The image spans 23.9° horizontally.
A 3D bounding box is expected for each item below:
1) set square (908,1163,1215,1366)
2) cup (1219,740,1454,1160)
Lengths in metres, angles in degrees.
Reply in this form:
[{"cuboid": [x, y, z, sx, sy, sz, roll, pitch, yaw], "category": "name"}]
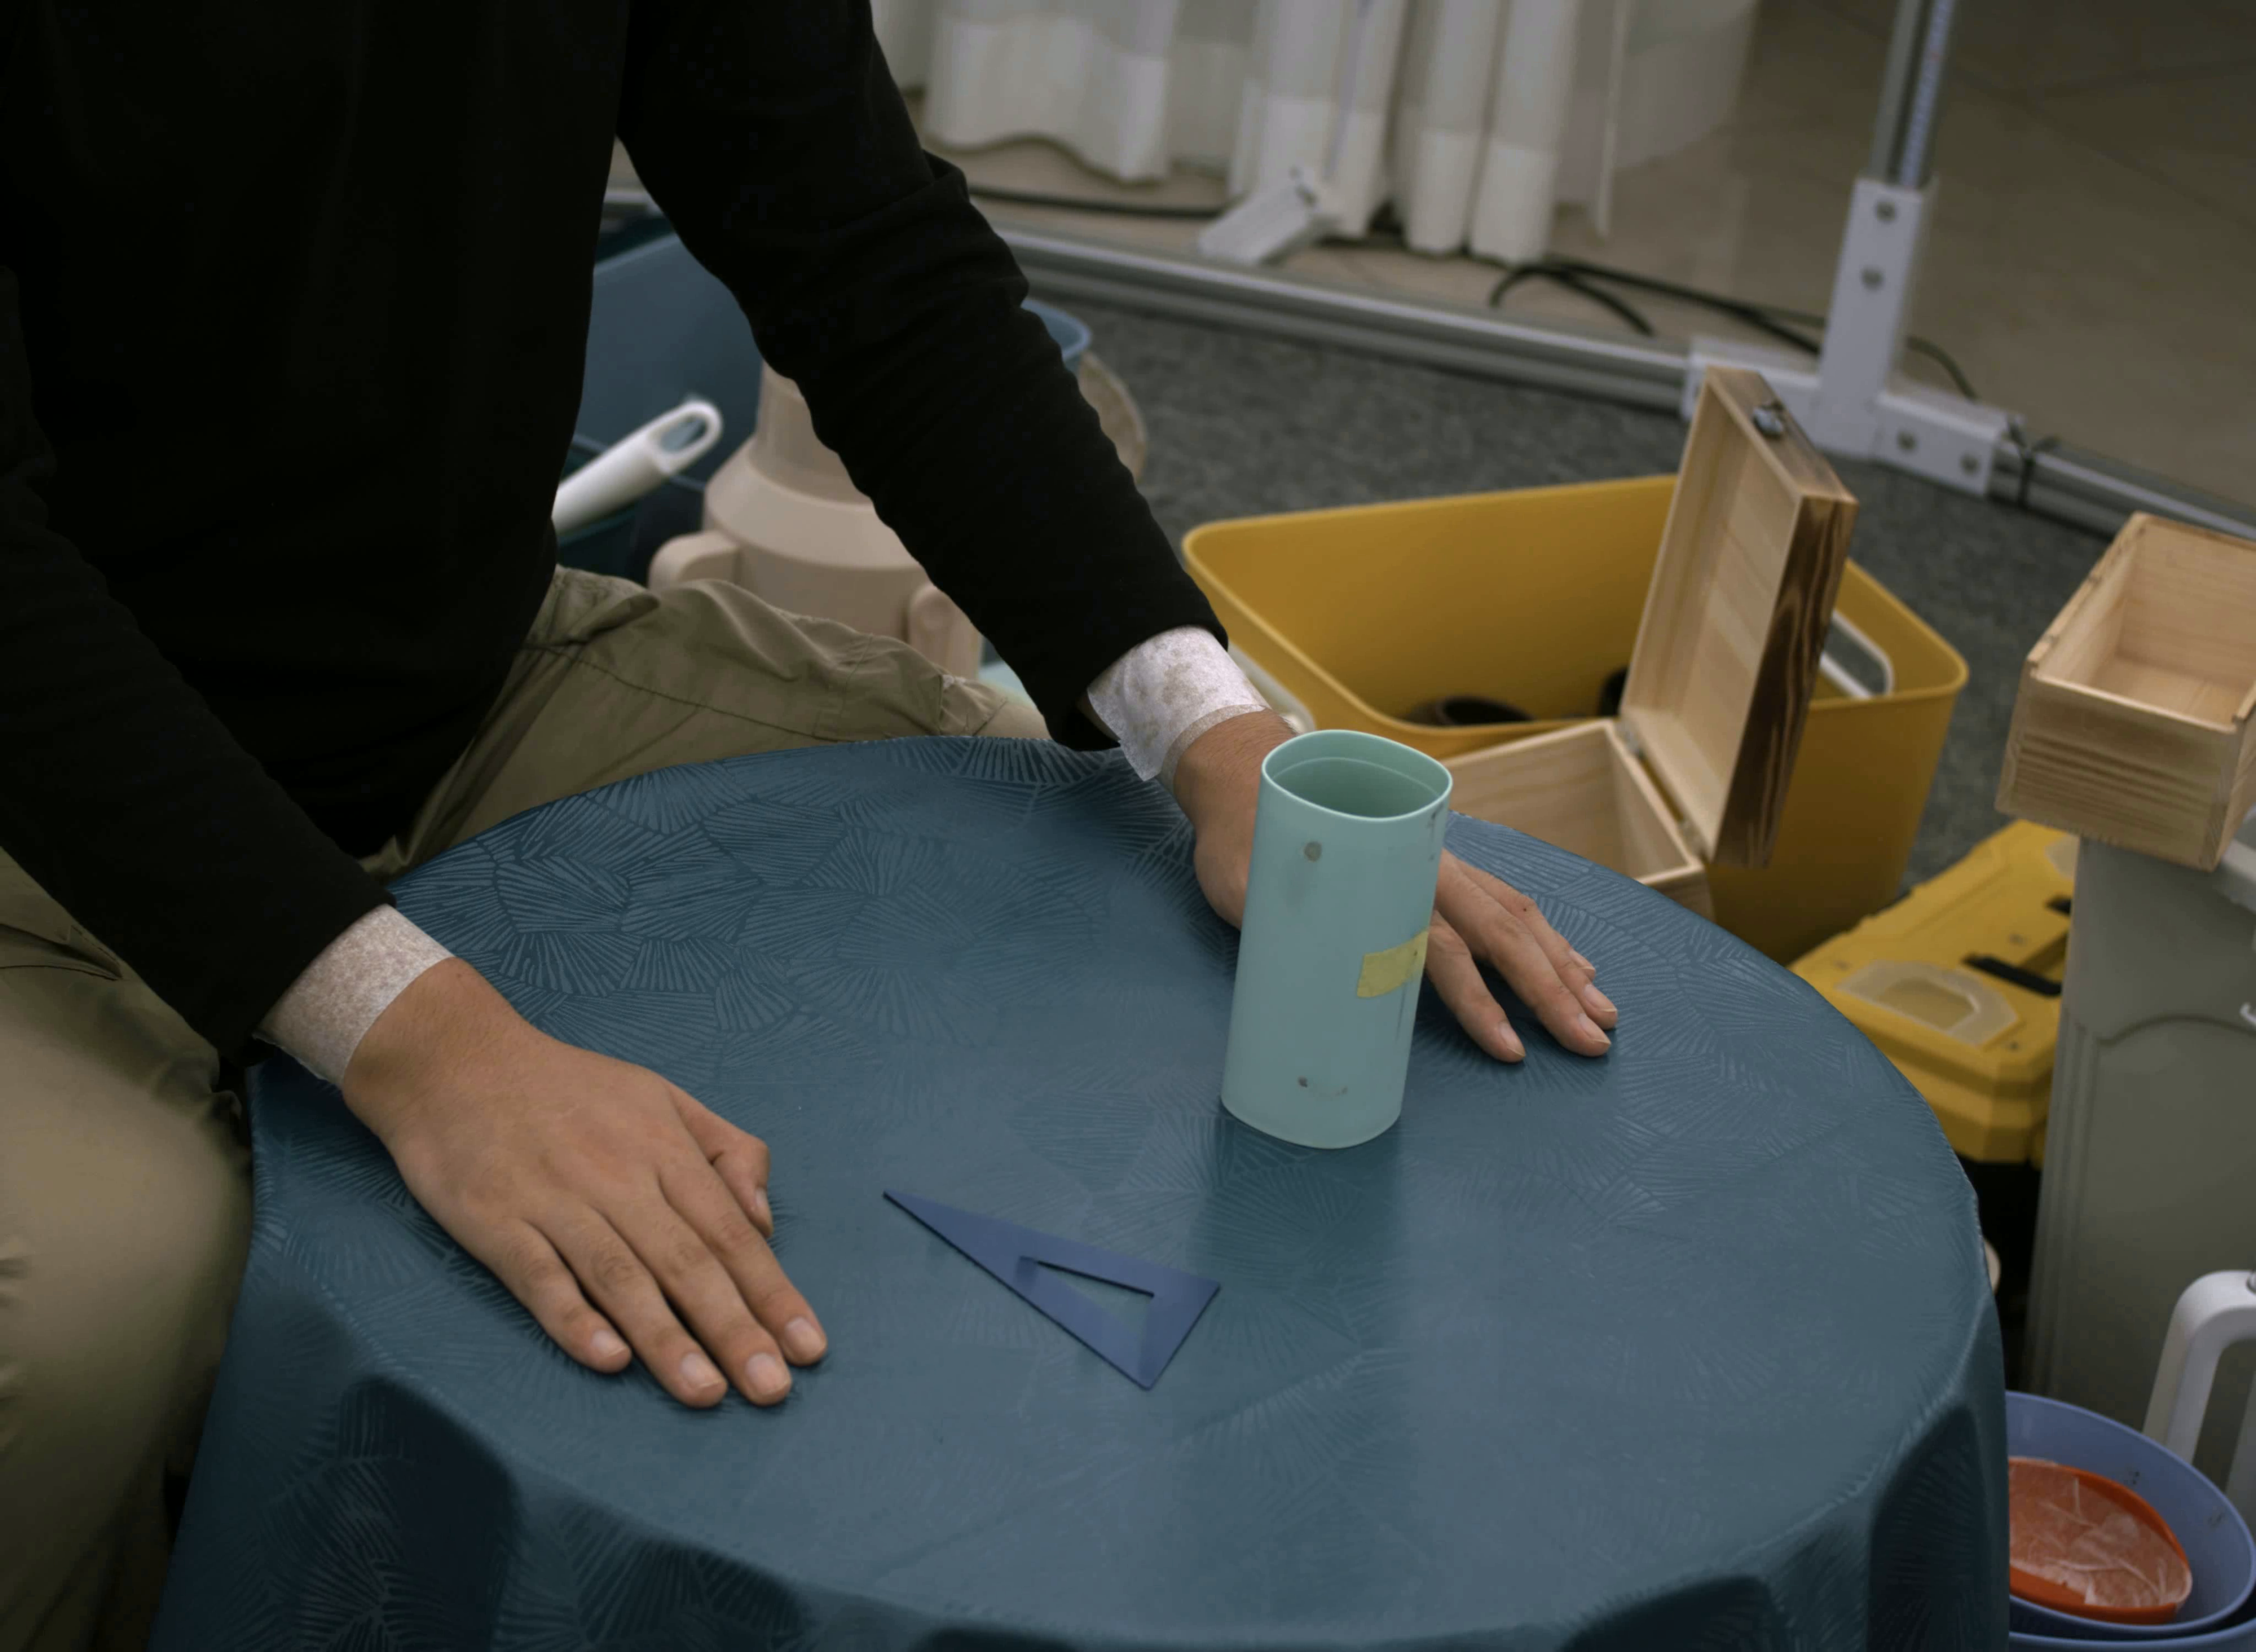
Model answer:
[{"cuboid": [-0.016, 0.138, 1.765, 0.061, 0.006, 0.133, -16, 34, -32], "category": "set square"}, {"cuboid": [0.070, 0.042, 1.841, 0.066, 0.132, 0.067, 6, 27, -3], "category": "cup"}]
